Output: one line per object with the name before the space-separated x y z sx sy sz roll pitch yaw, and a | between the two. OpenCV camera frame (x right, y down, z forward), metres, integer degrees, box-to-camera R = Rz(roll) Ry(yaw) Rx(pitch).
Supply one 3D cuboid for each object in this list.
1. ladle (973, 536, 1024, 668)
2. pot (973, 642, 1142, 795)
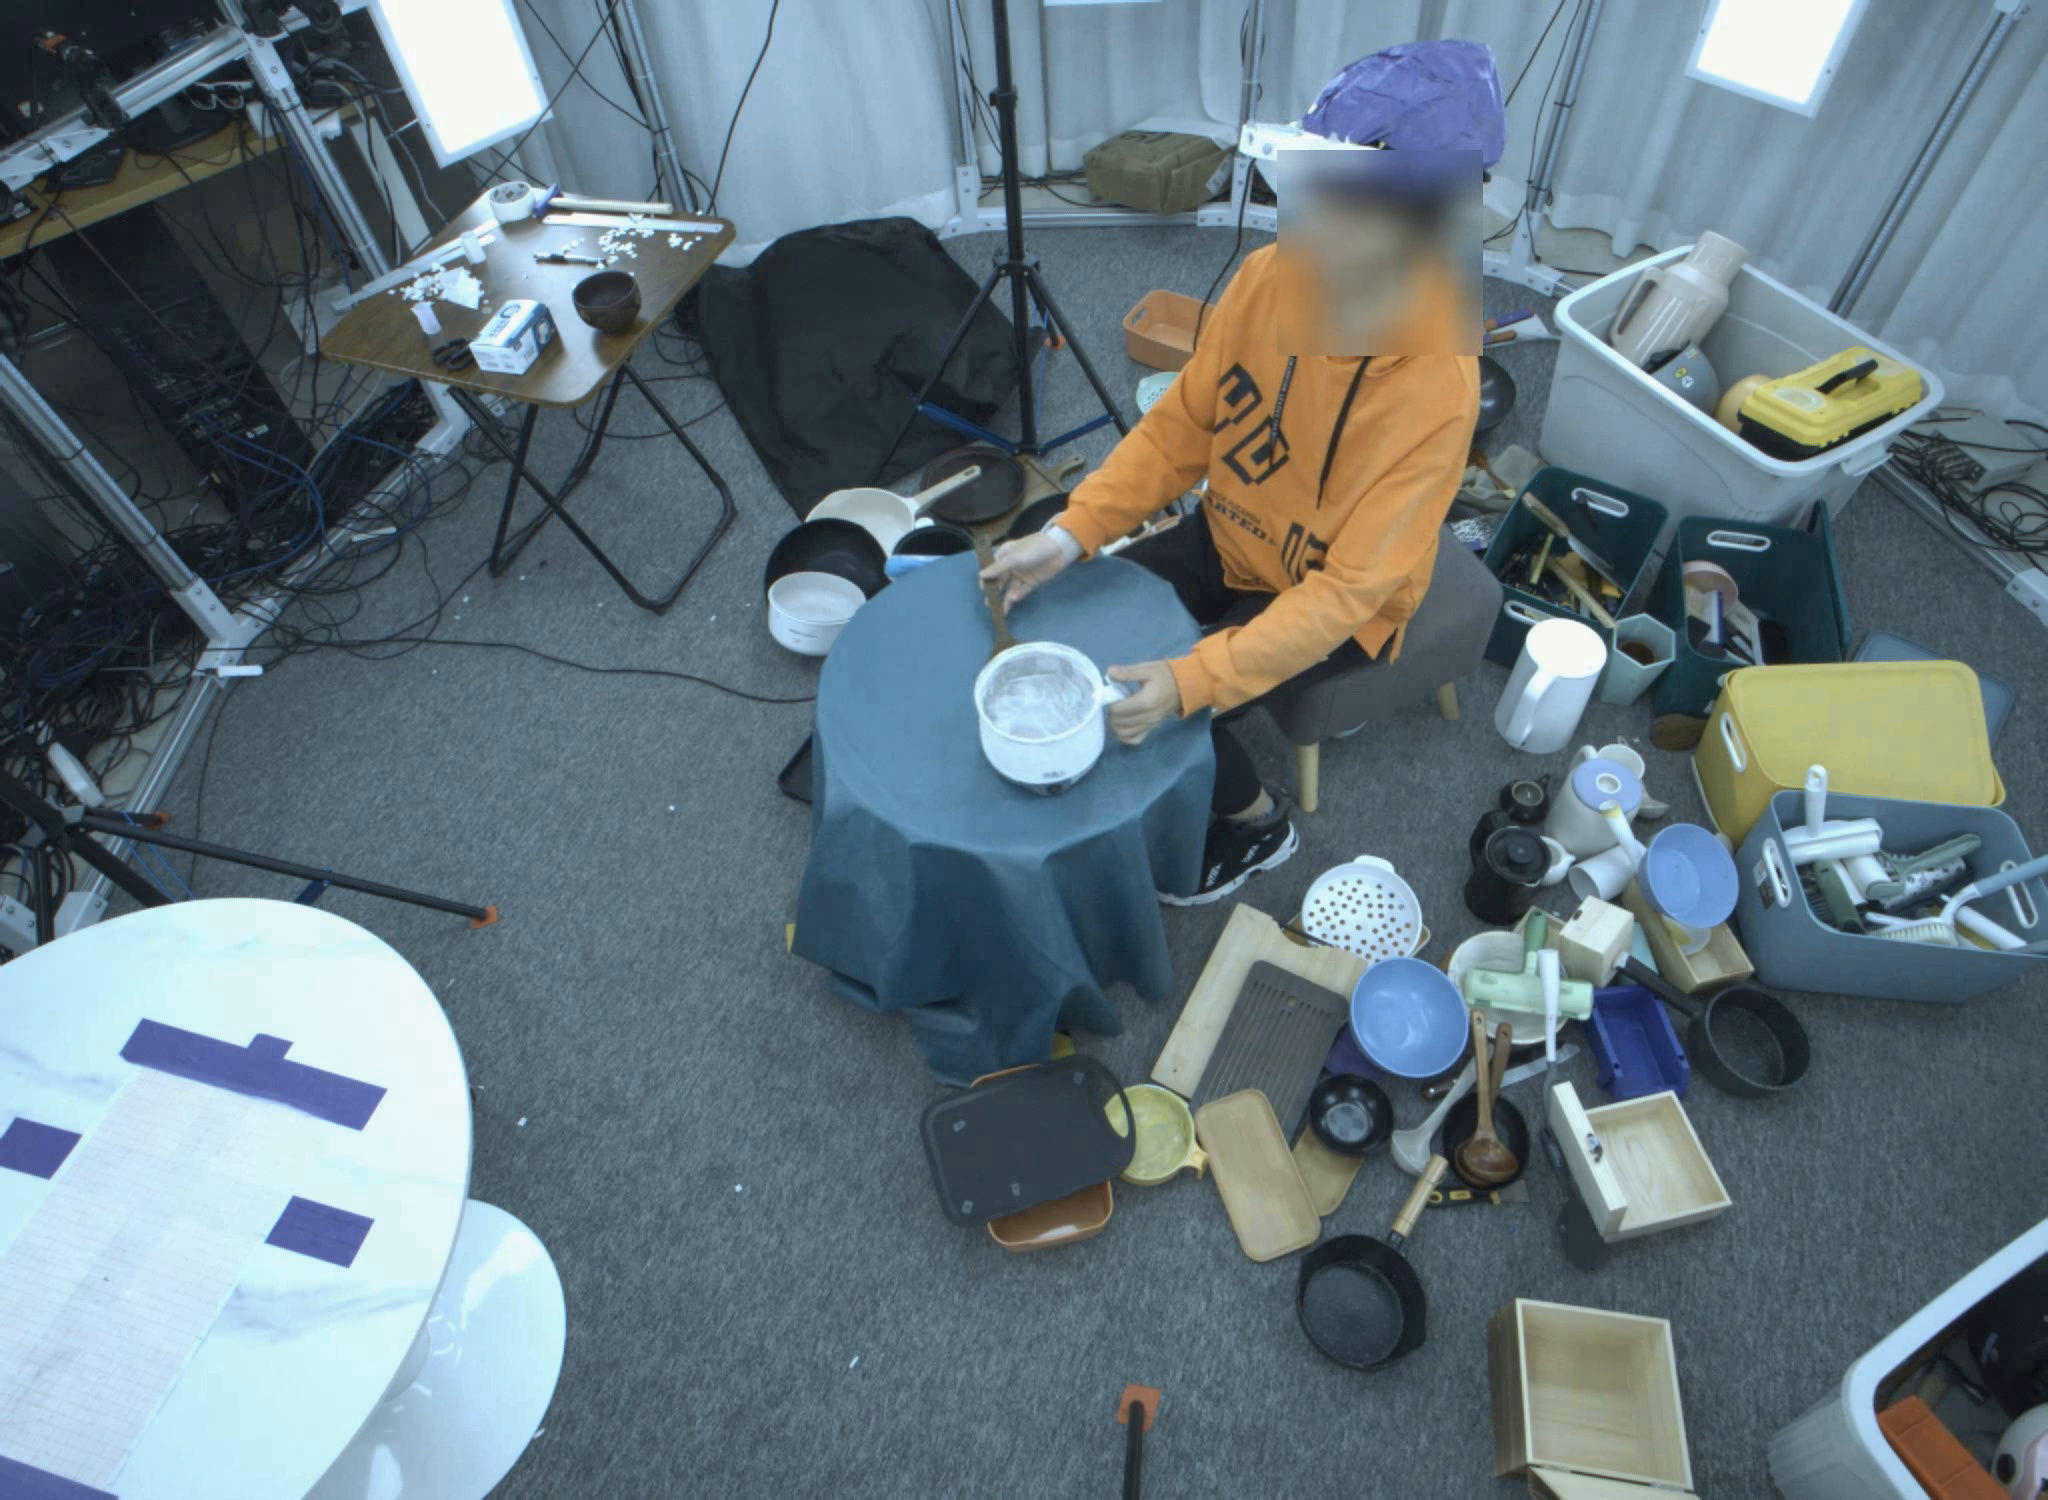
ladle | -0.045 -0.234 1.890 0.076 0.072 0.271 -10 68 -5
pot | 0.051 -0.049 1.734 0.234 0.138 0.176 -12 56 -5
